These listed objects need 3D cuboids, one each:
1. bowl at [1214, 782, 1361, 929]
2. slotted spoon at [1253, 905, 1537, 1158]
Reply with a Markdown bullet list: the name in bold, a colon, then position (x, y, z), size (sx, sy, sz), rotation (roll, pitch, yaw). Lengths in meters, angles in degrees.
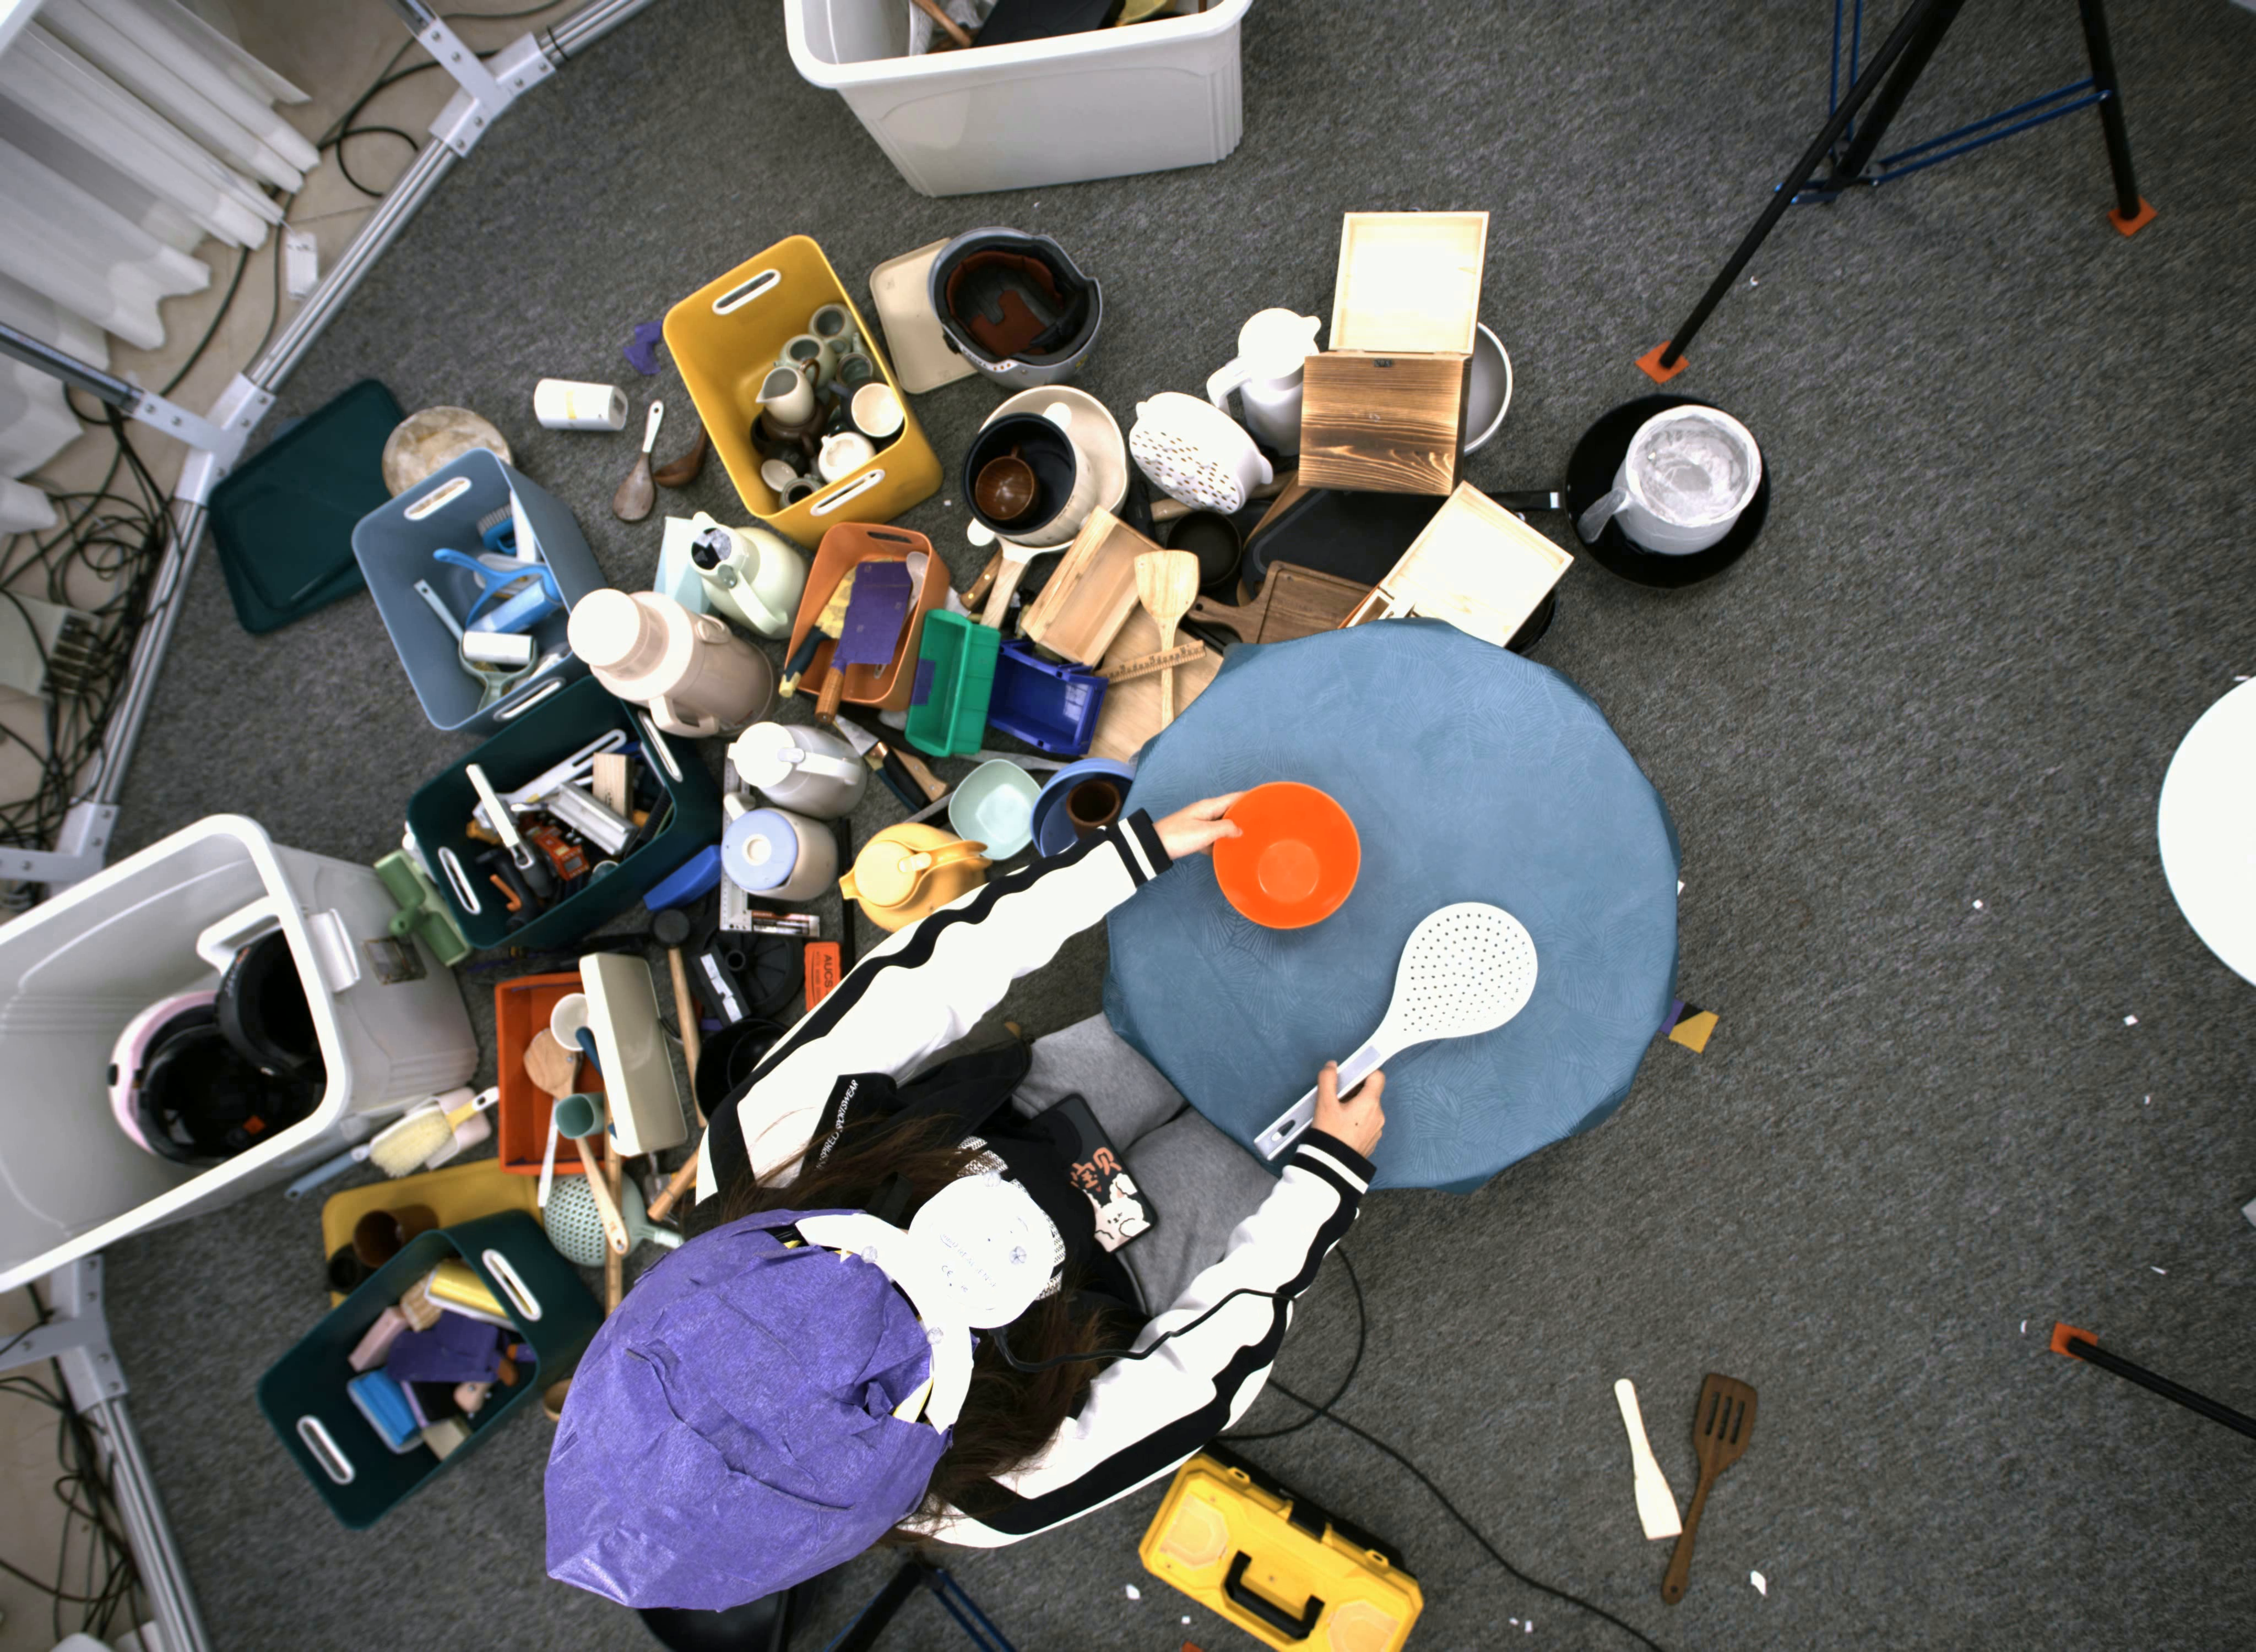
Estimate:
- **bowl**: position (0.166, 0.032, 1.431), size (0.148, 0.104, 0.147), rotation (0, 88, 9)
- **slotted spoon**: position (0.267, 0.217, 1.415), size (0.350, 0.046, 0.134), rotation (-39, 61, 0)
